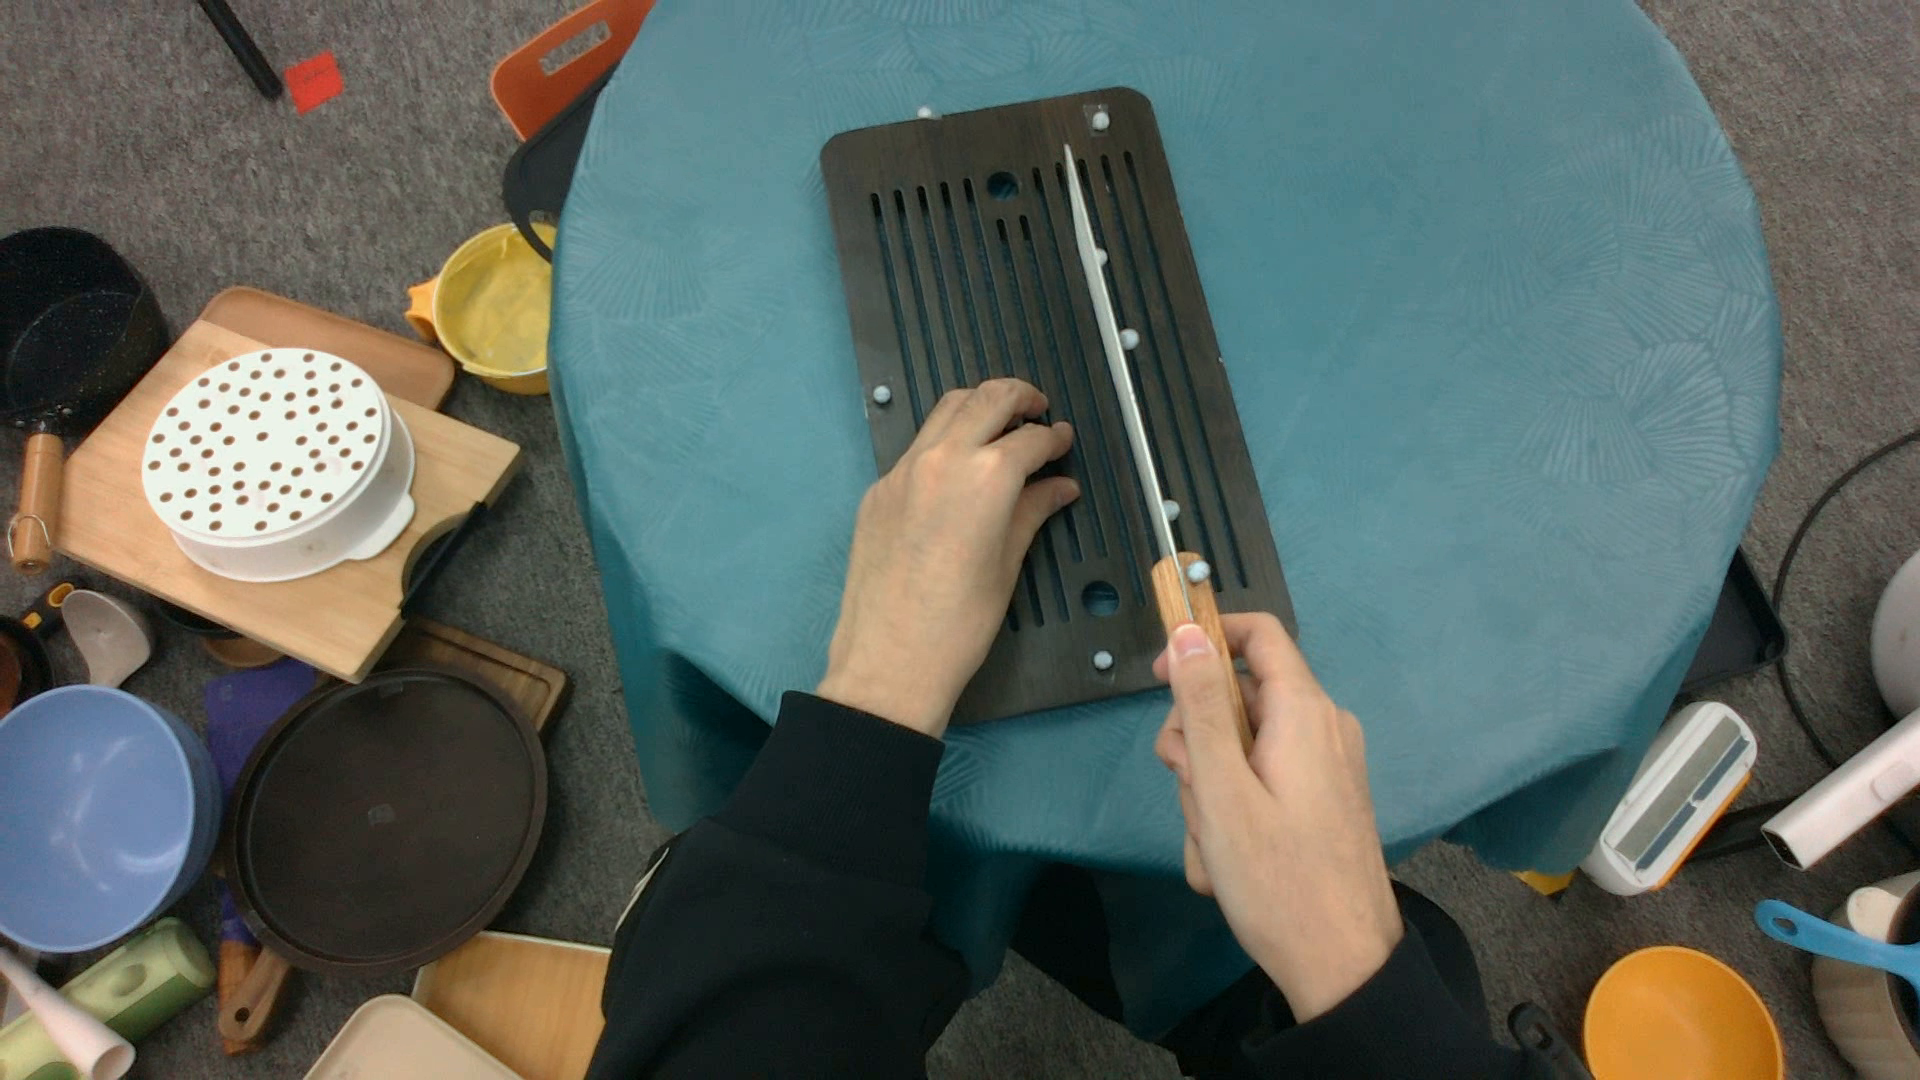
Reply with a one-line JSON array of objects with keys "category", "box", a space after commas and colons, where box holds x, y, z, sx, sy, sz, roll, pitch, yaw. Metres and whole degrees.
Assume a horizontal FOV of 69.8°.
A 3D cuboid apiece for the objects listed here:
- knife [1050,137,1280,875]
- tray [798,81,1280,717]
[{"category": "knife", "box": [0.075, -0.016, 0.556, 0.021, 0.093, 0.306, -14, 71, 4]}, {"category": "tray", "box": [0.030, -0.077, 0.647, 0.170, 0.018, 0.306, -10, 71, -5]}]
